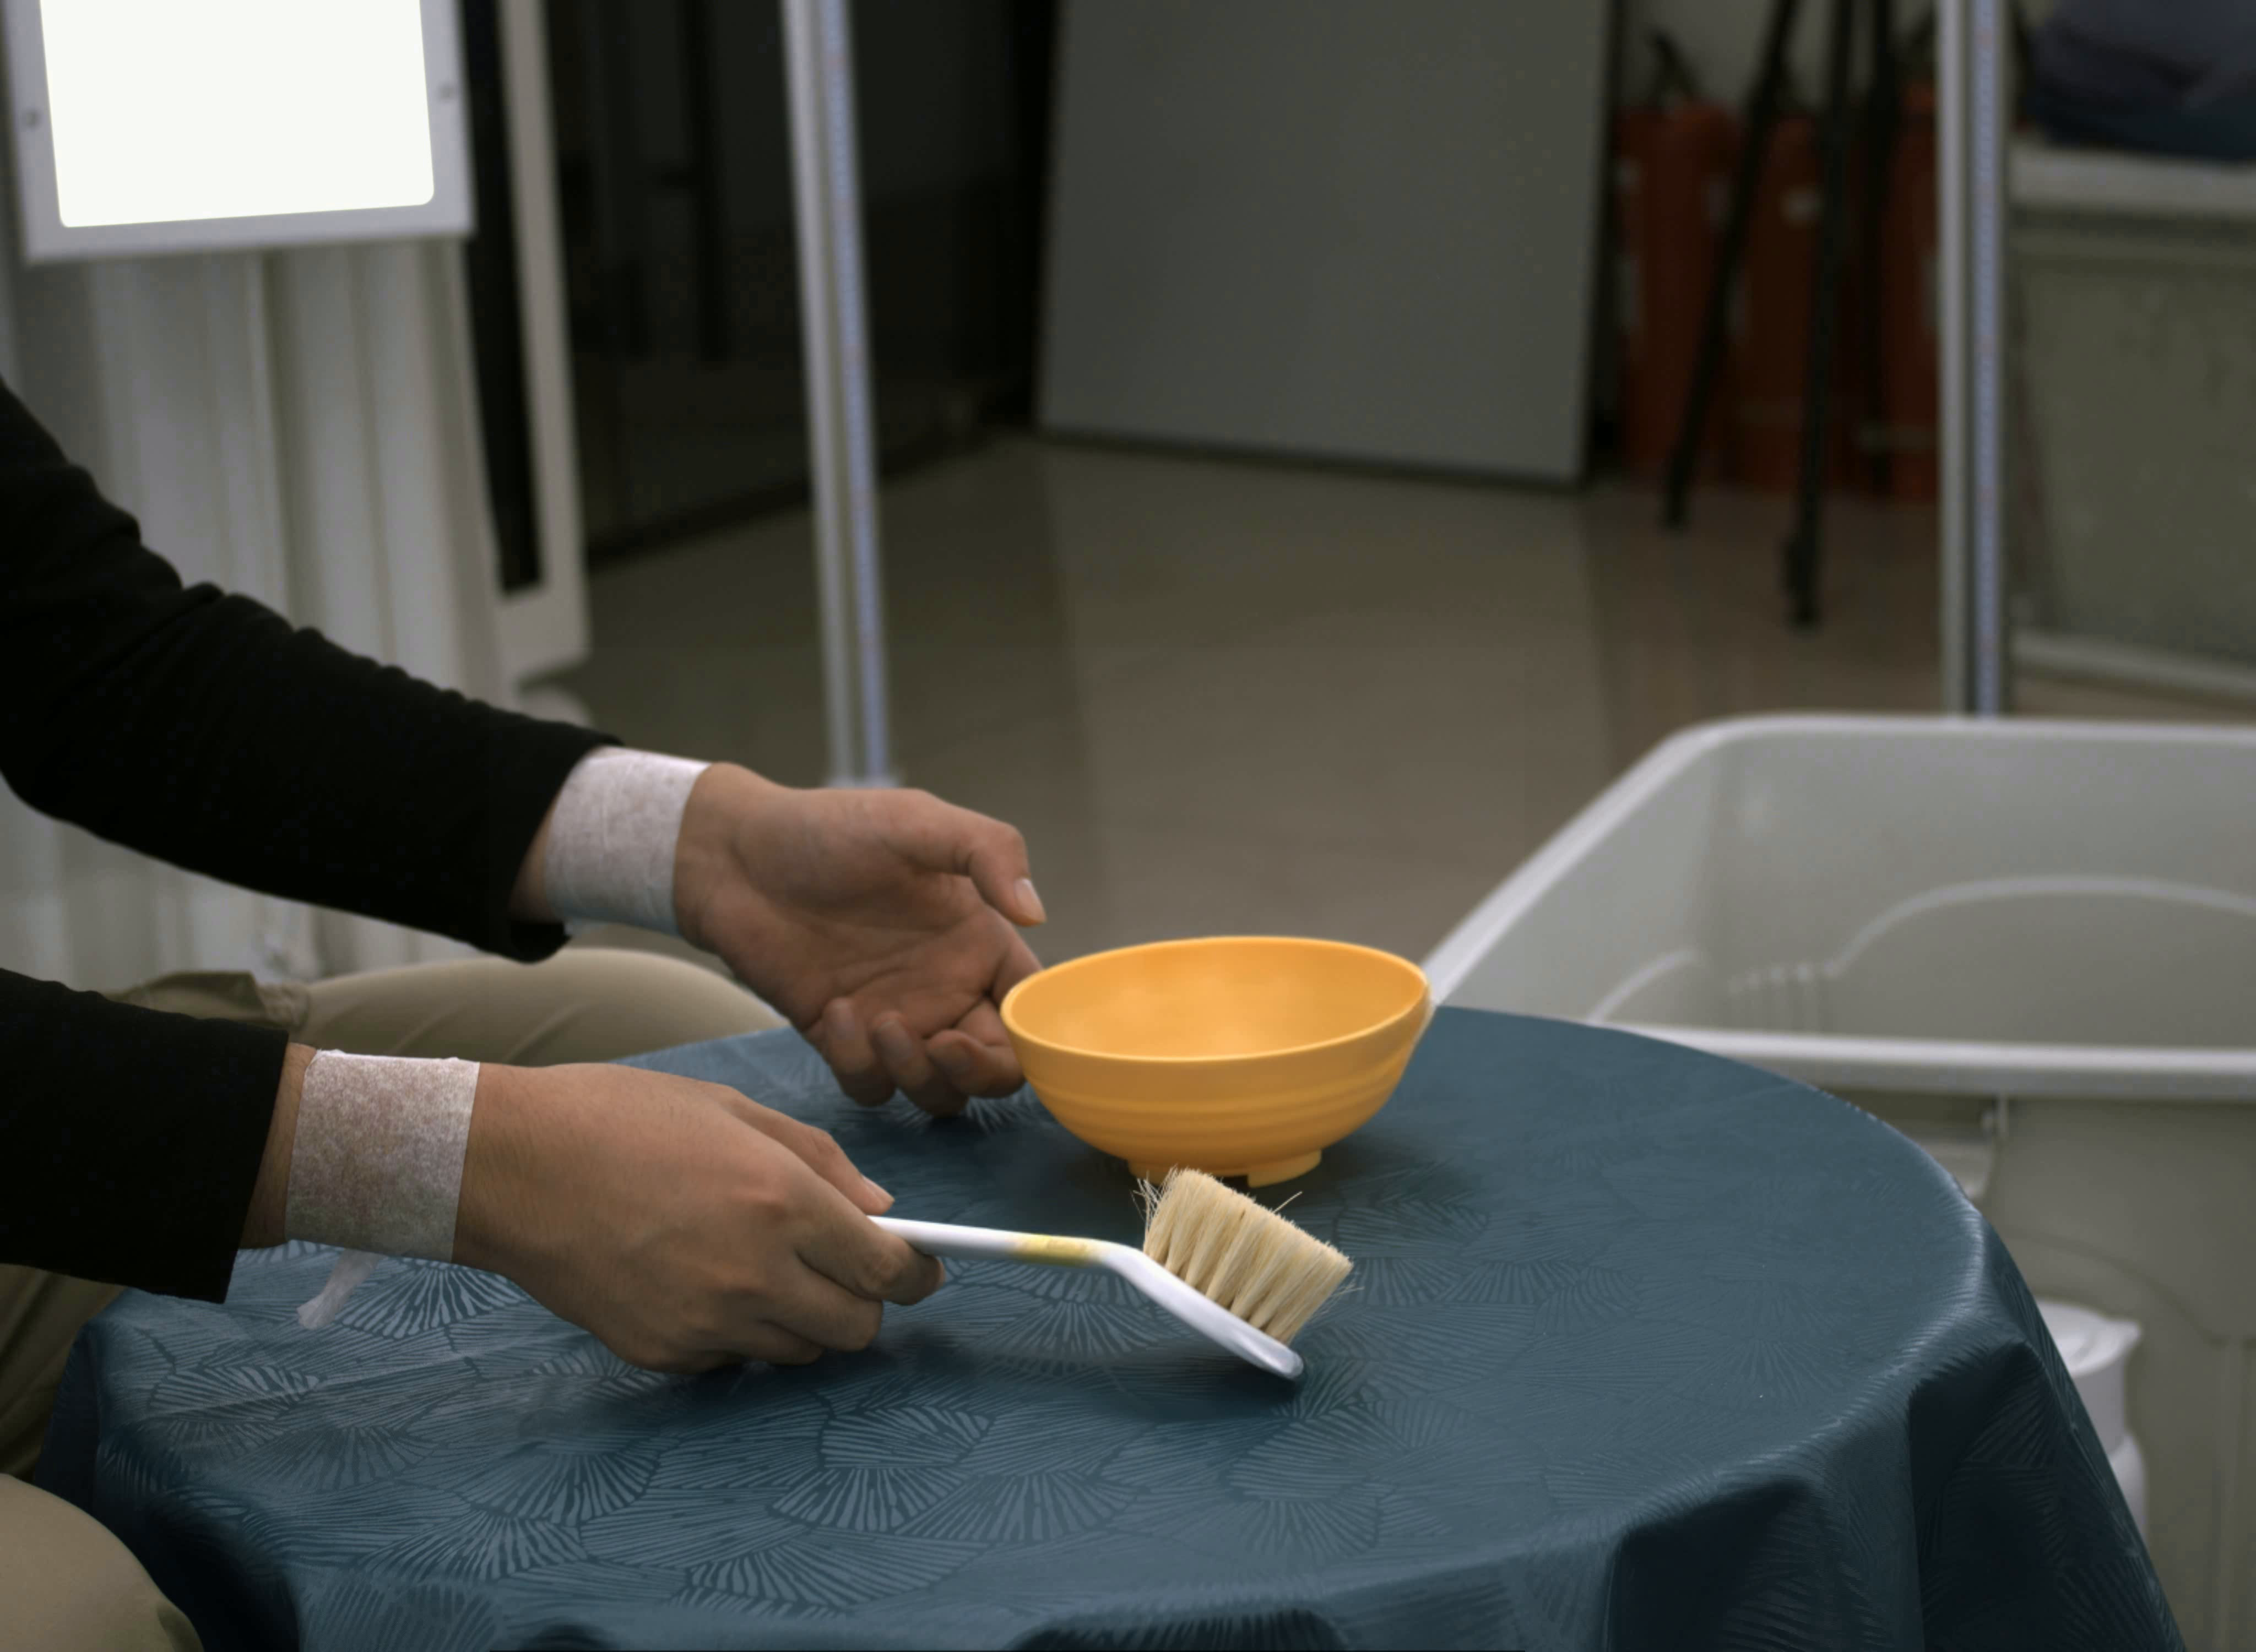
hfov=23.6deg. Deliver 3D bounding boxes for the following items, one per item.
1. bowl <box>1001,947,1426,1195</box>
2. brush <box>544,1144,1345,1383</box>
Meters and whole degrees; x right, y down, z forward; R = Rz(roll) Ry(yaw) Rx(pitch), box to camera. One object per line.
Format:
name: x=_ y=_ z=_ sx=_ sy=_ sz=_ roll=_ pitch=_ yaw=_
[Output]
bowl: x=0.030 y=0.085 z=1.786 sx=0.143 sy=0.061 sz=0.145 roll=-4 pitch=12 yaw=0
brush: x=-0.058 y=0.115 z=1.623 sx=0.267 sy=0.056 sz=0.067 roll=9 pitch=-15 yaw=28
